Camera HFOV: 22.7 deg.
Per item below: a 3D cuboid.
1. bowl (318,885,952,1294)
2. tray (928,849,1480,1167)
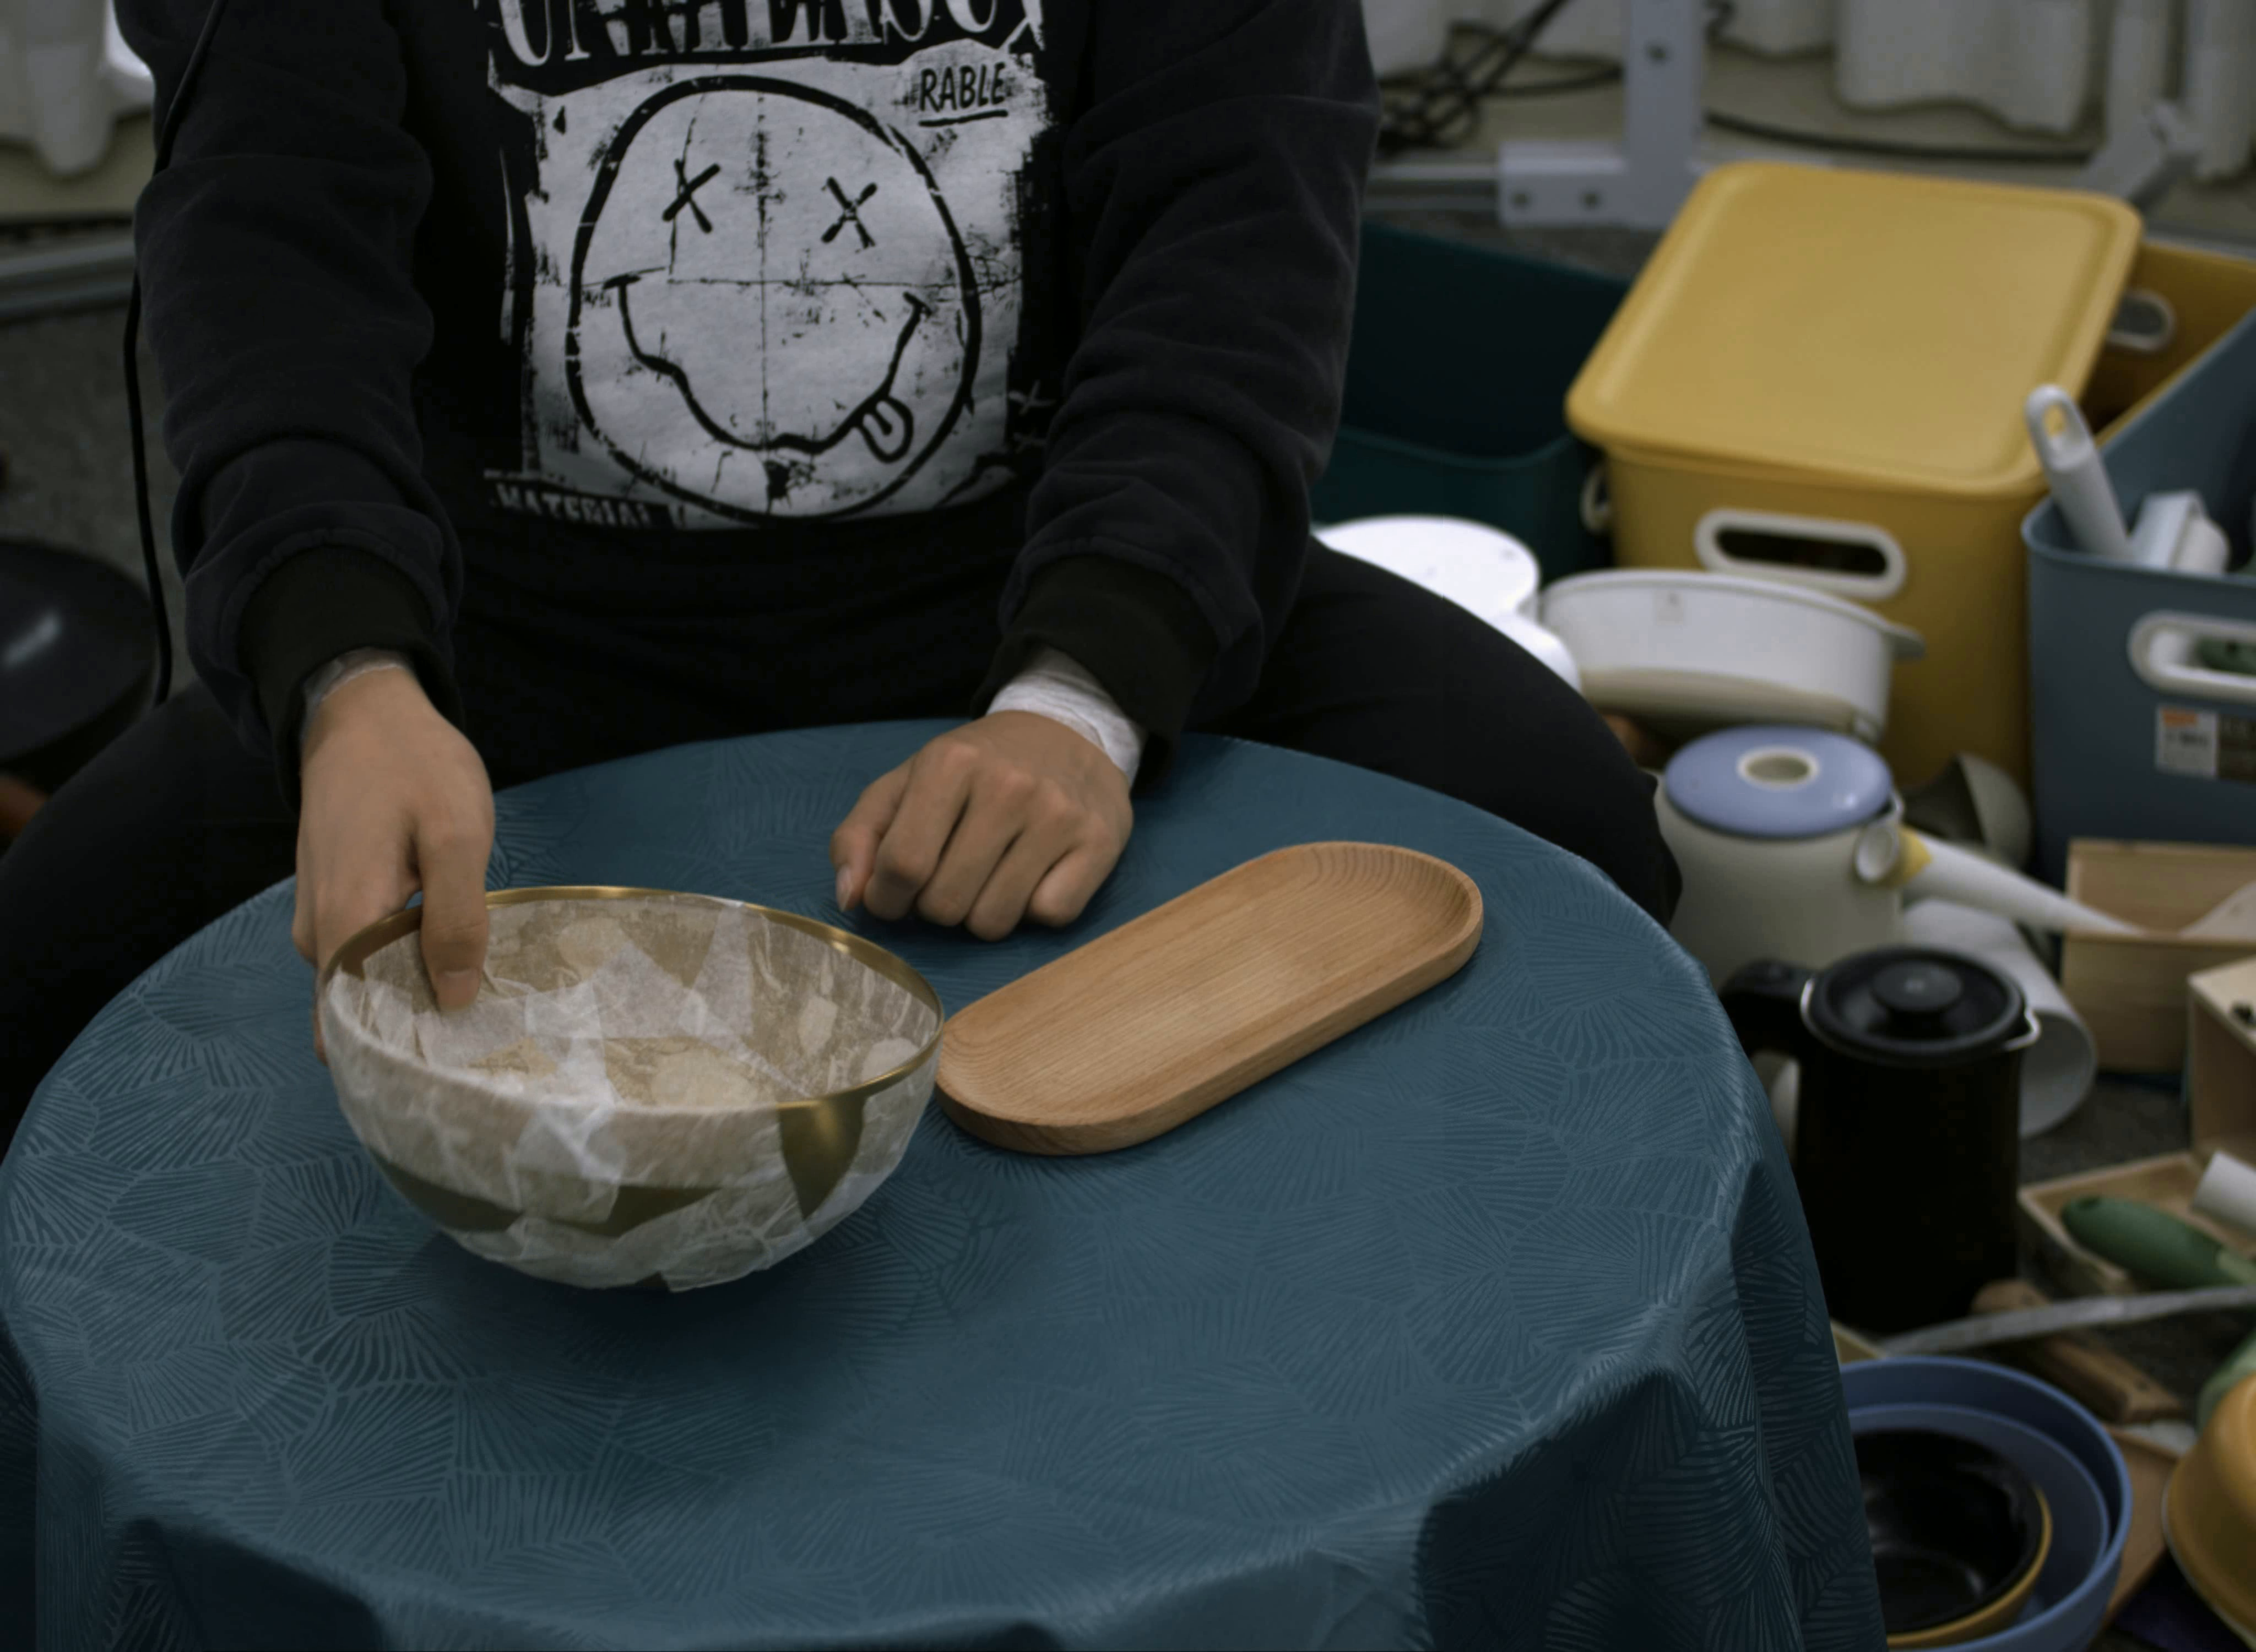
[{"bbox_3d":[-0.158,0.095,1.821,0.214,0.094,0.217,4,19,-1],"label":"bowl"},{"bbox_3d":[0.029,0.062,1.958,0.101,0.020,0.234,20,37,41],"label":"tray"}]
